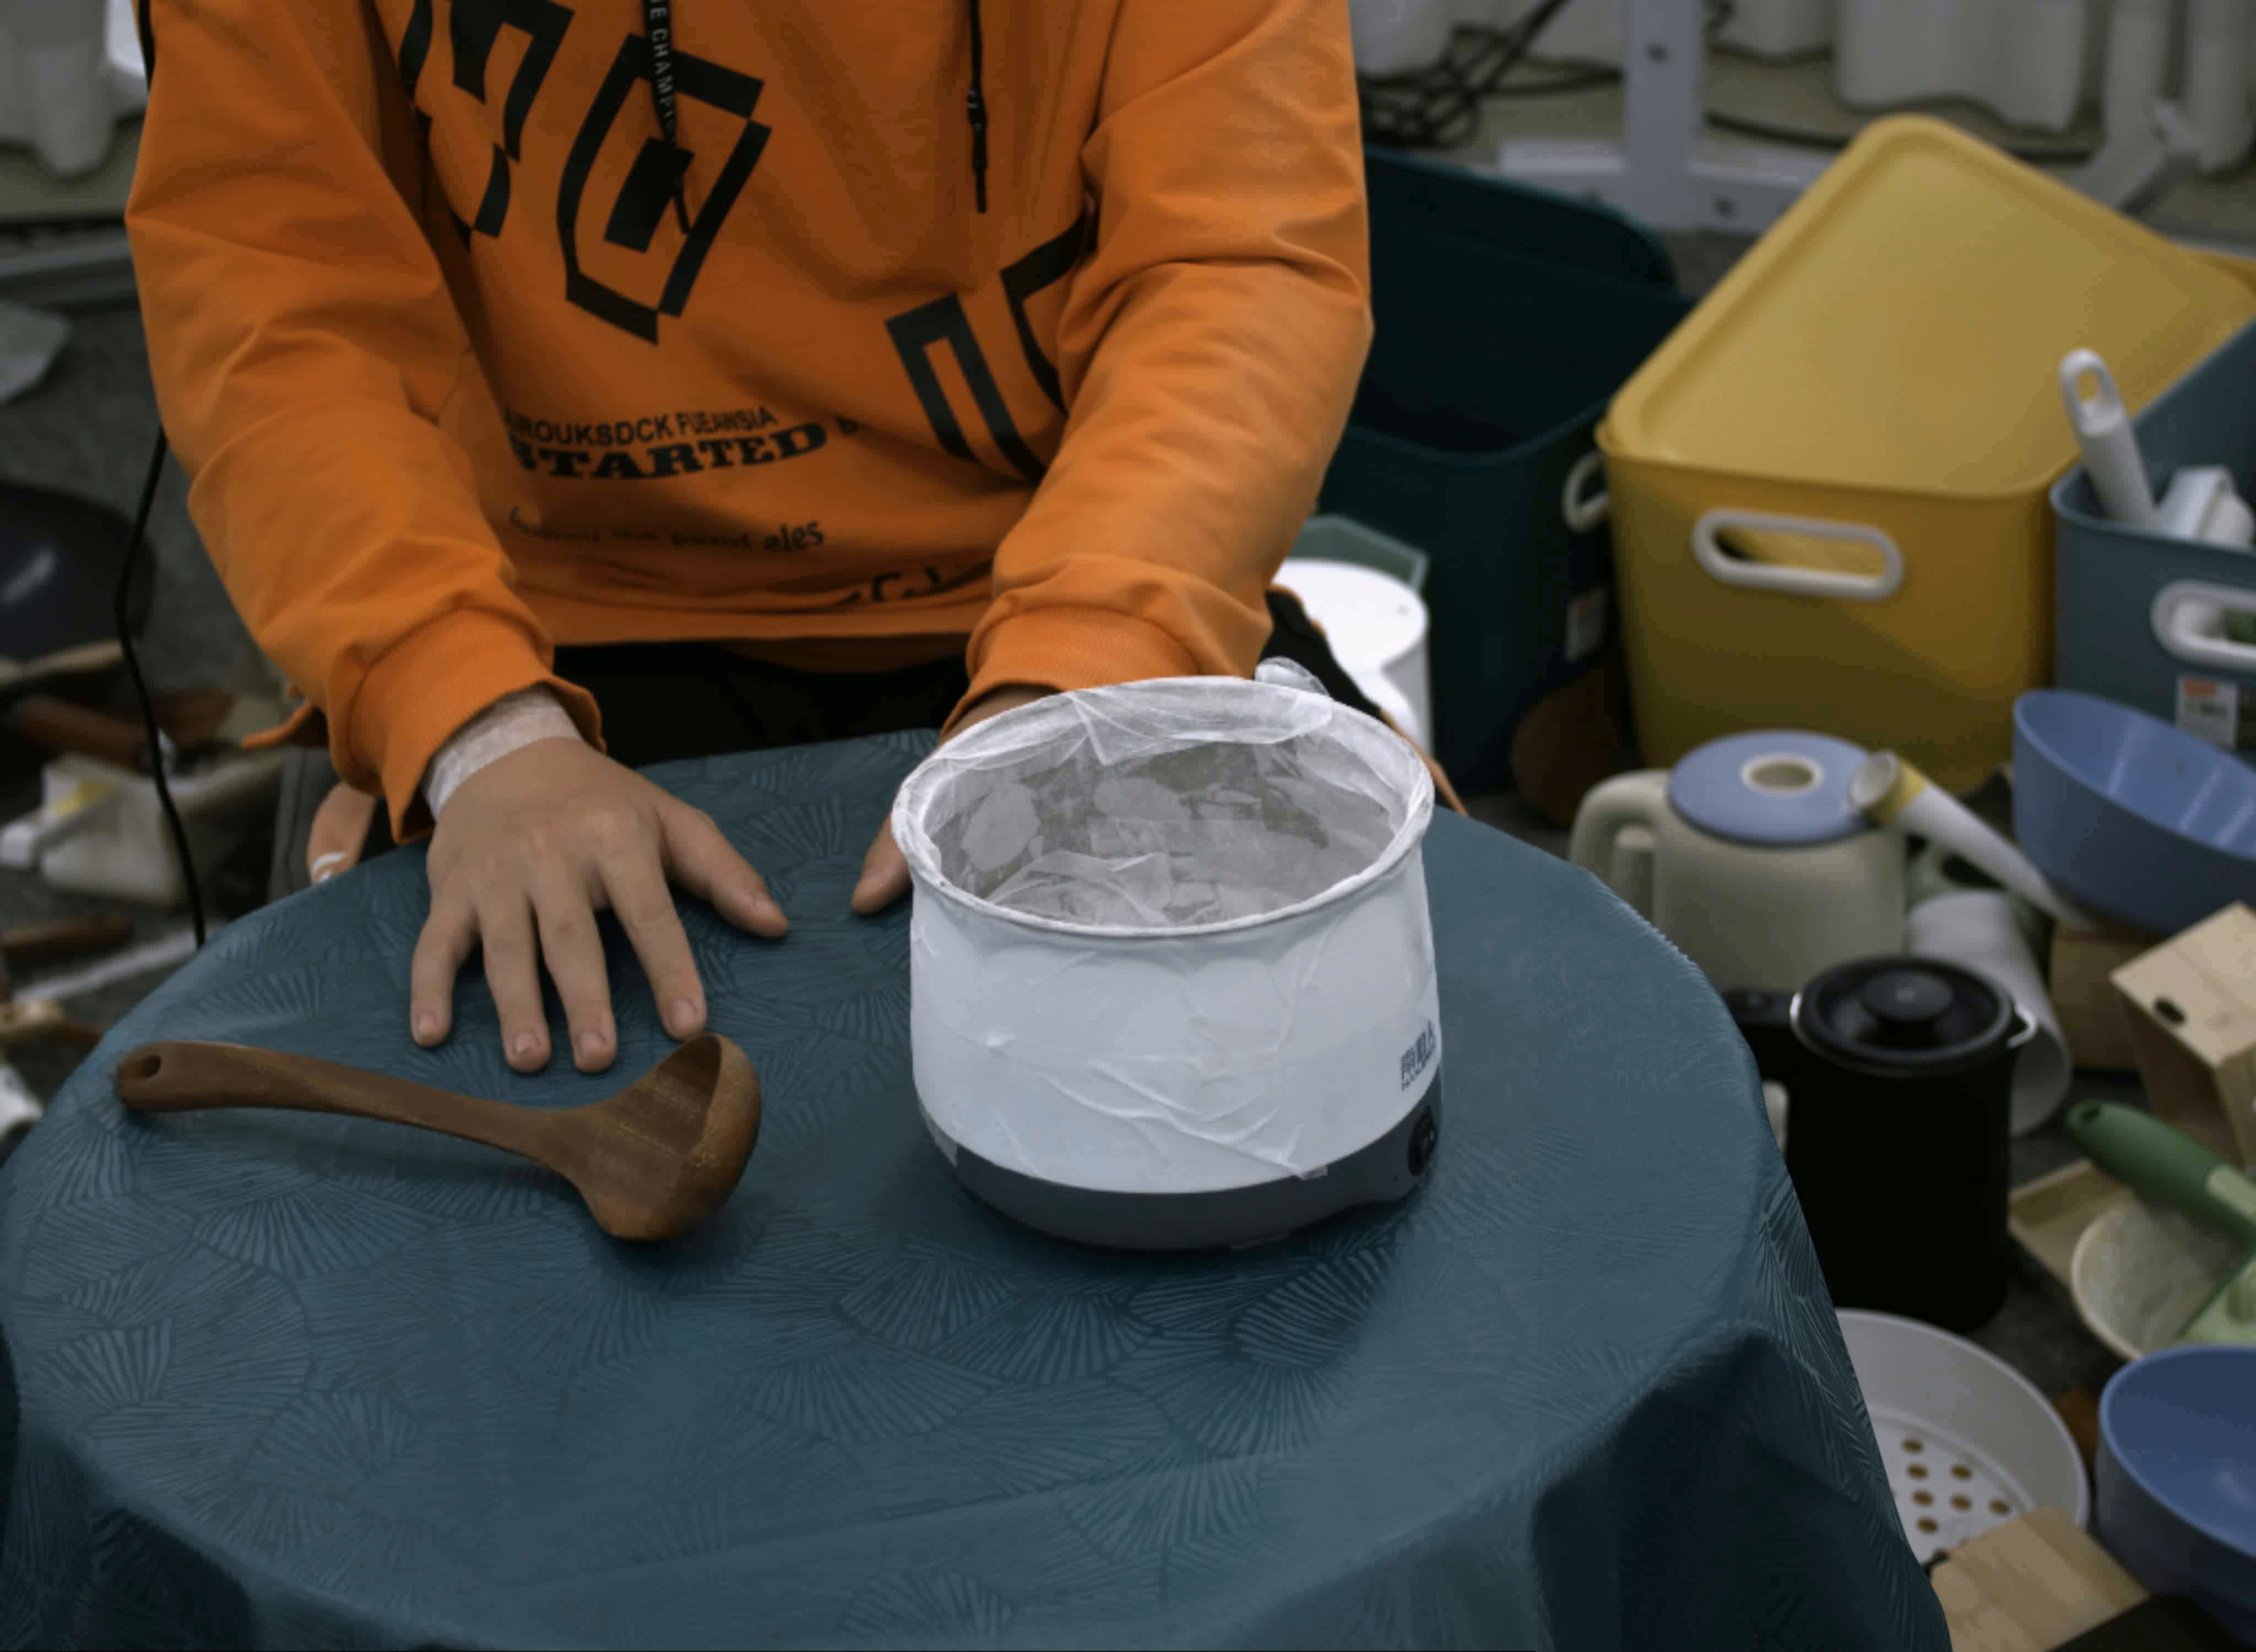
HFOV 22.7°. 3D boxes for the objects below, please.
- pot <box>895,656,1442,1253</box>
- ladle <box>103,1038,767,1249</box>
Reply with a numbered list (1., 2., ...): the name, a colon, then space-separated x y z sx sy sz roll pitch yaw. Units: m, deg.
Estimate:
1. pot: 0.025 0.035 1.880 0.177 0.135 0.238 8 29 21
2. ladle: -0.238 0.091 1.880 0.258 0.064 0.078 9 54 21
